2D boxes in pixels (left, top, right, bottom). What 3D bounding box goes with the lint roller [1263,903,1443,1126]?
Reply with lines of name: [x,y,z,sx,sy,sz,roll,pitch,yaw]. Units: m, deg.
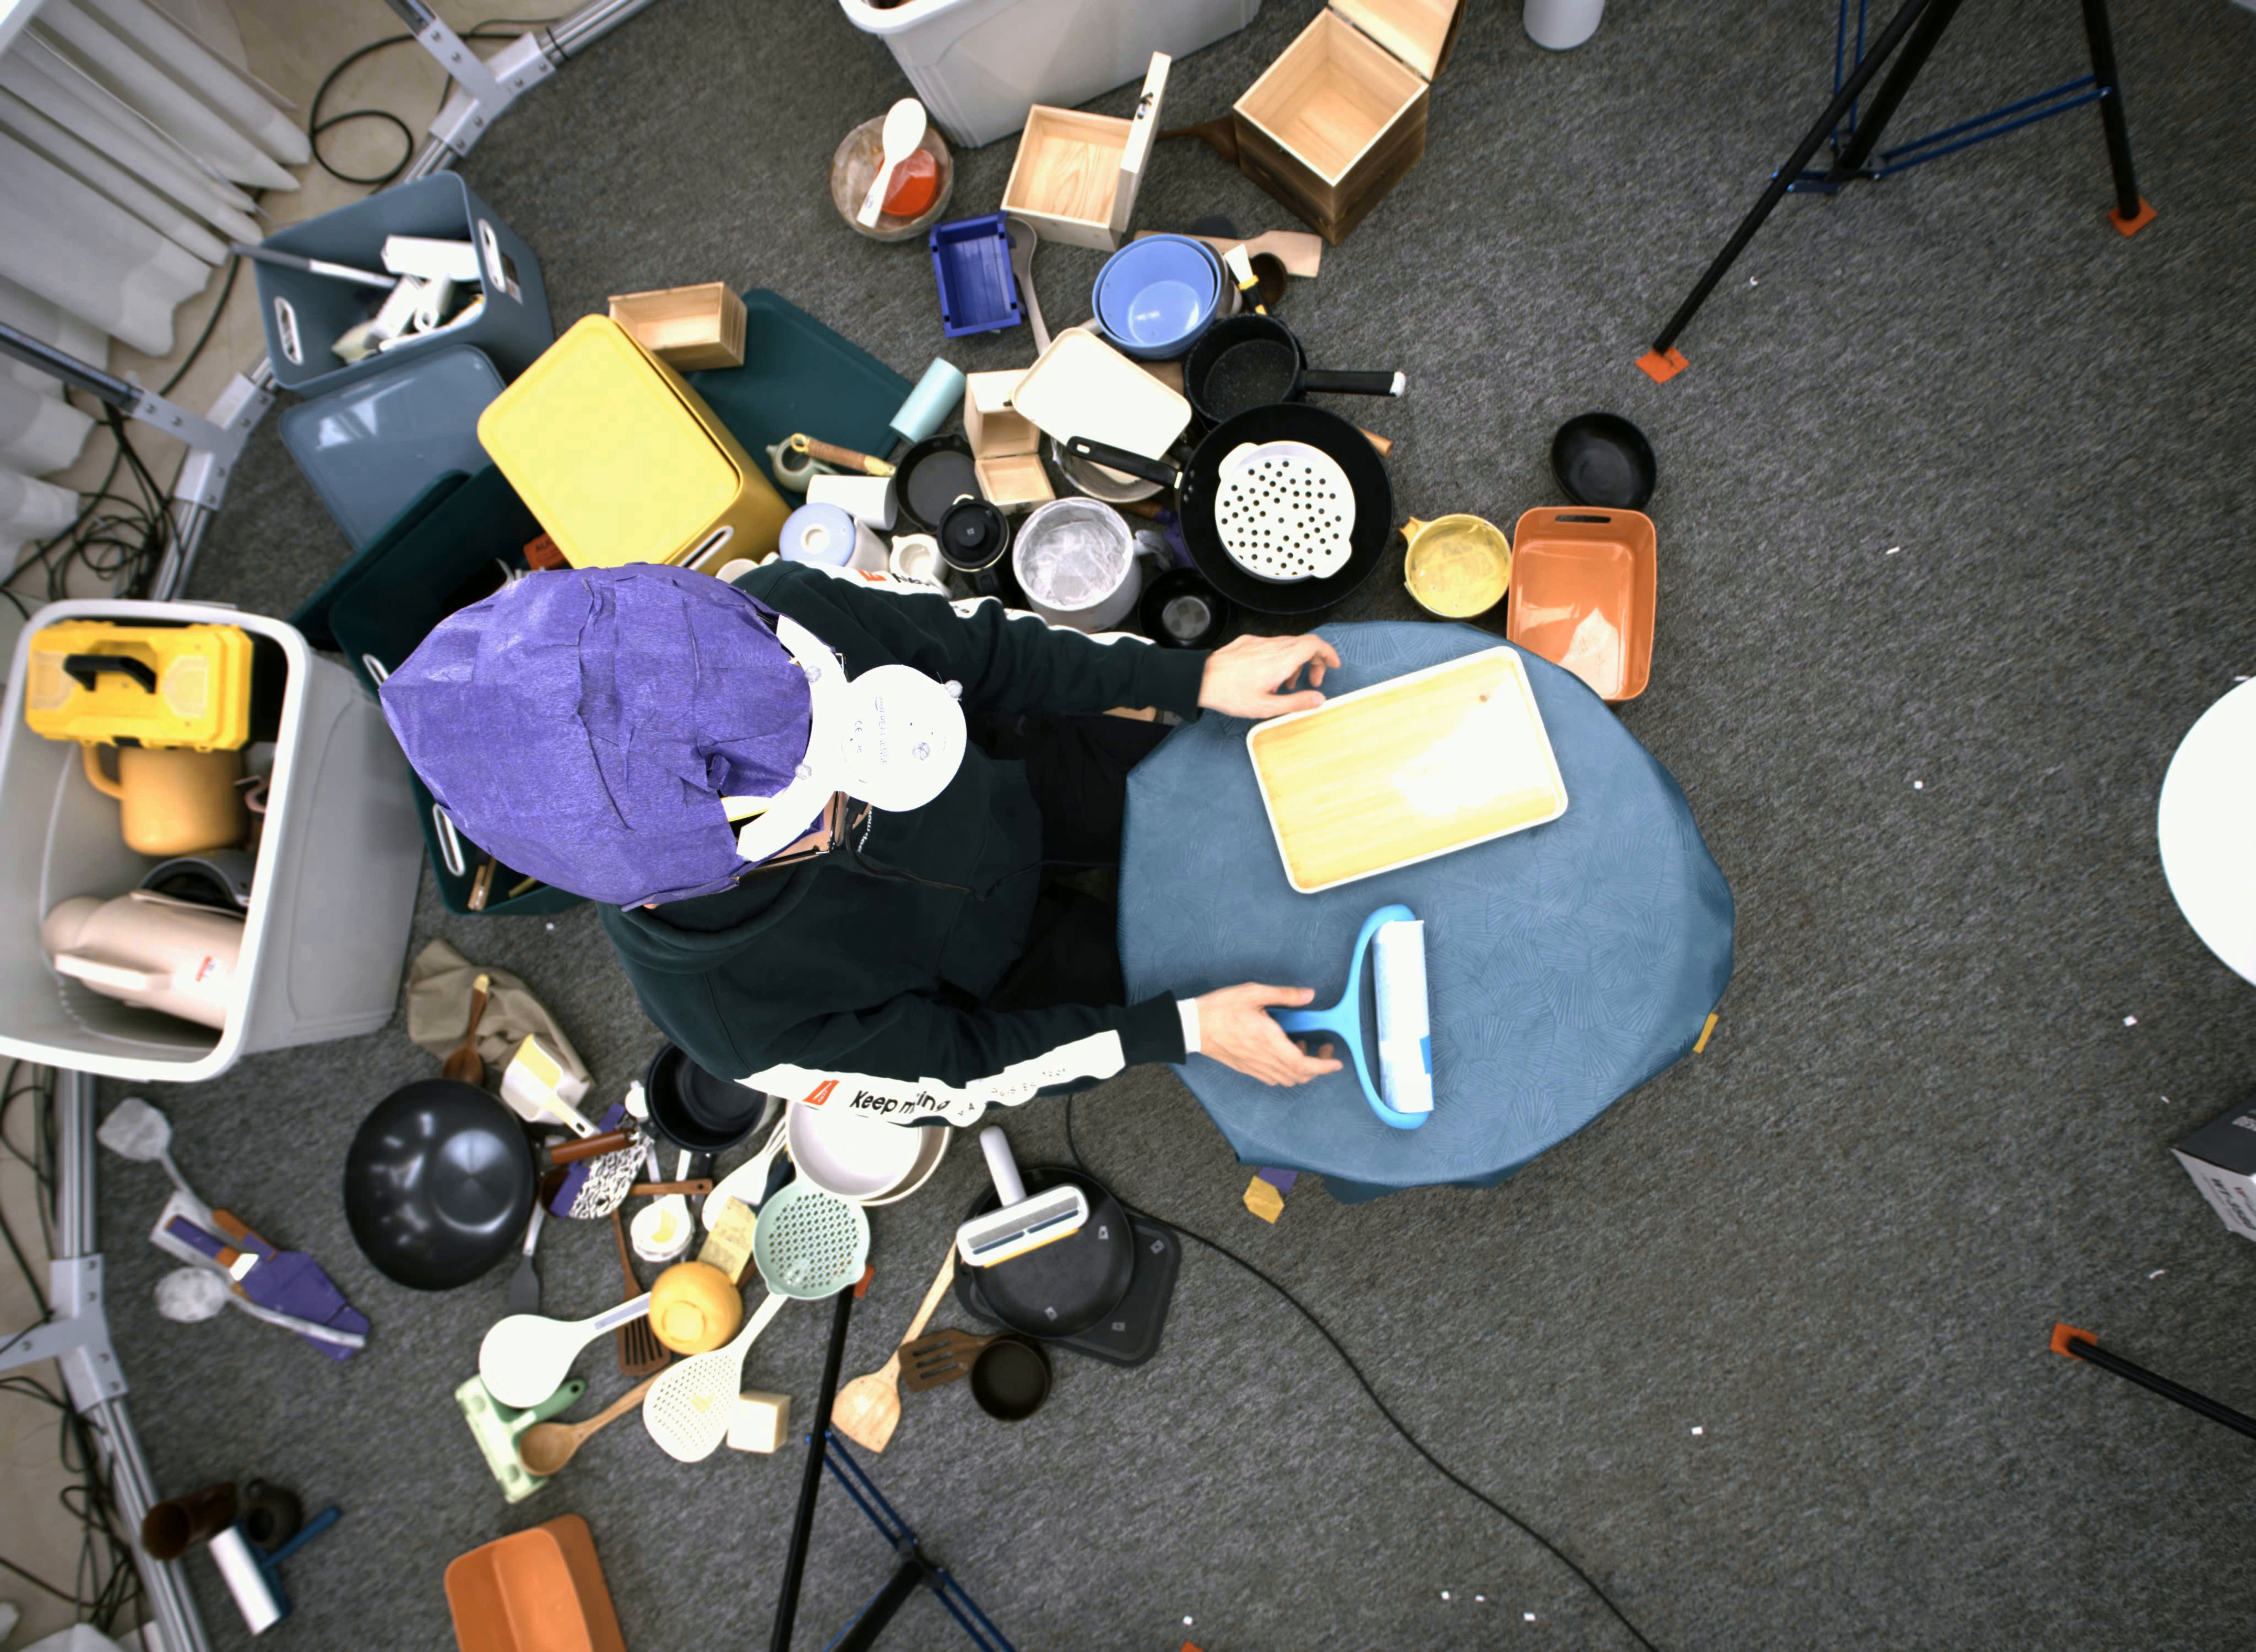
lint roller: [0.228,0.200,1.429,0.181,0.068,0.228,-8,87,9]

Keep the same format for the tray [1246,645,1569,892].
tray: [0.290,-0.060,1.445,0.302,0.027,0.190,-17,84,9]
